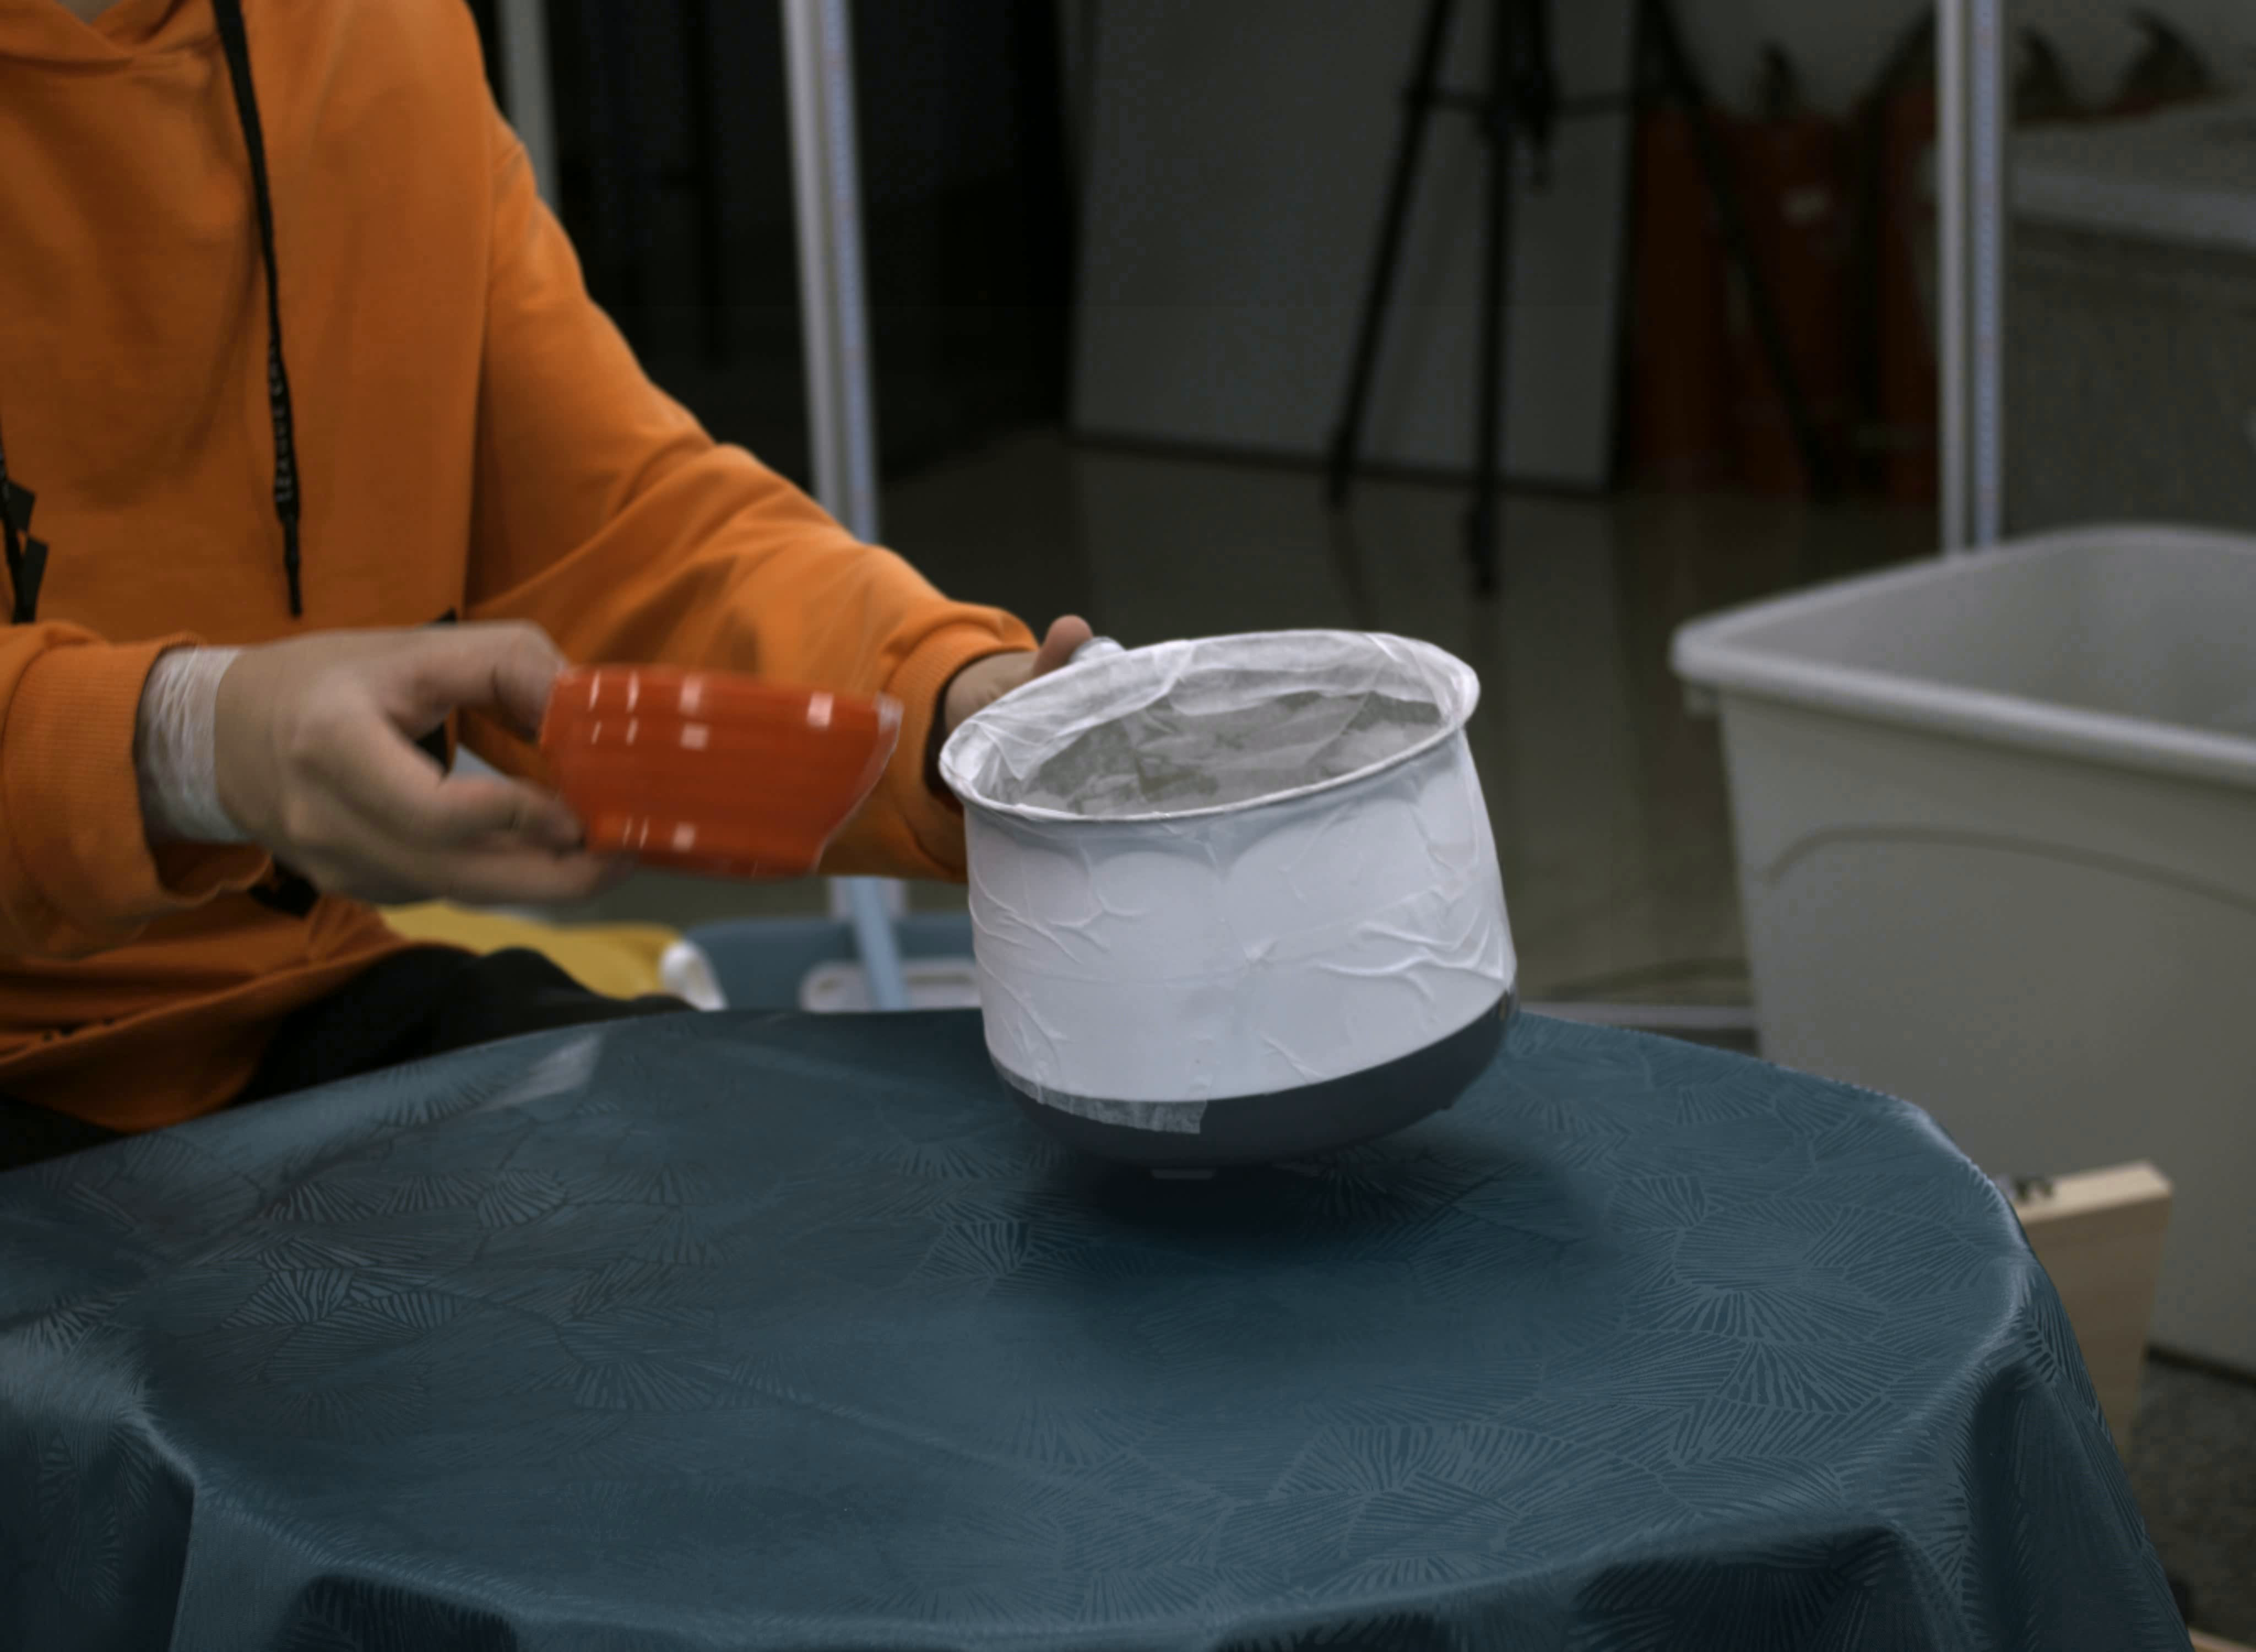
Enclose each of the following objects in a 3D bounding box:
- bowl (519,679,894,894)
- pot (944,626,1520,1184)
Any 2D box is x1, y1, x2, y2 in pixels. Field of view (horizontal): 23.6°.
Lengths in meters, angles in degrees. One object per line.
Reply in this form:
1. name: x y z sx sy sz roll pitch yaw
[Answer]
1. bowl: -0.128 -0.010 1.617 0.117 0.052 0.119 5 -6 0
2. pot: 0.025 0.018 1.773 0.175 0.138 0.236 -15 19 -18
